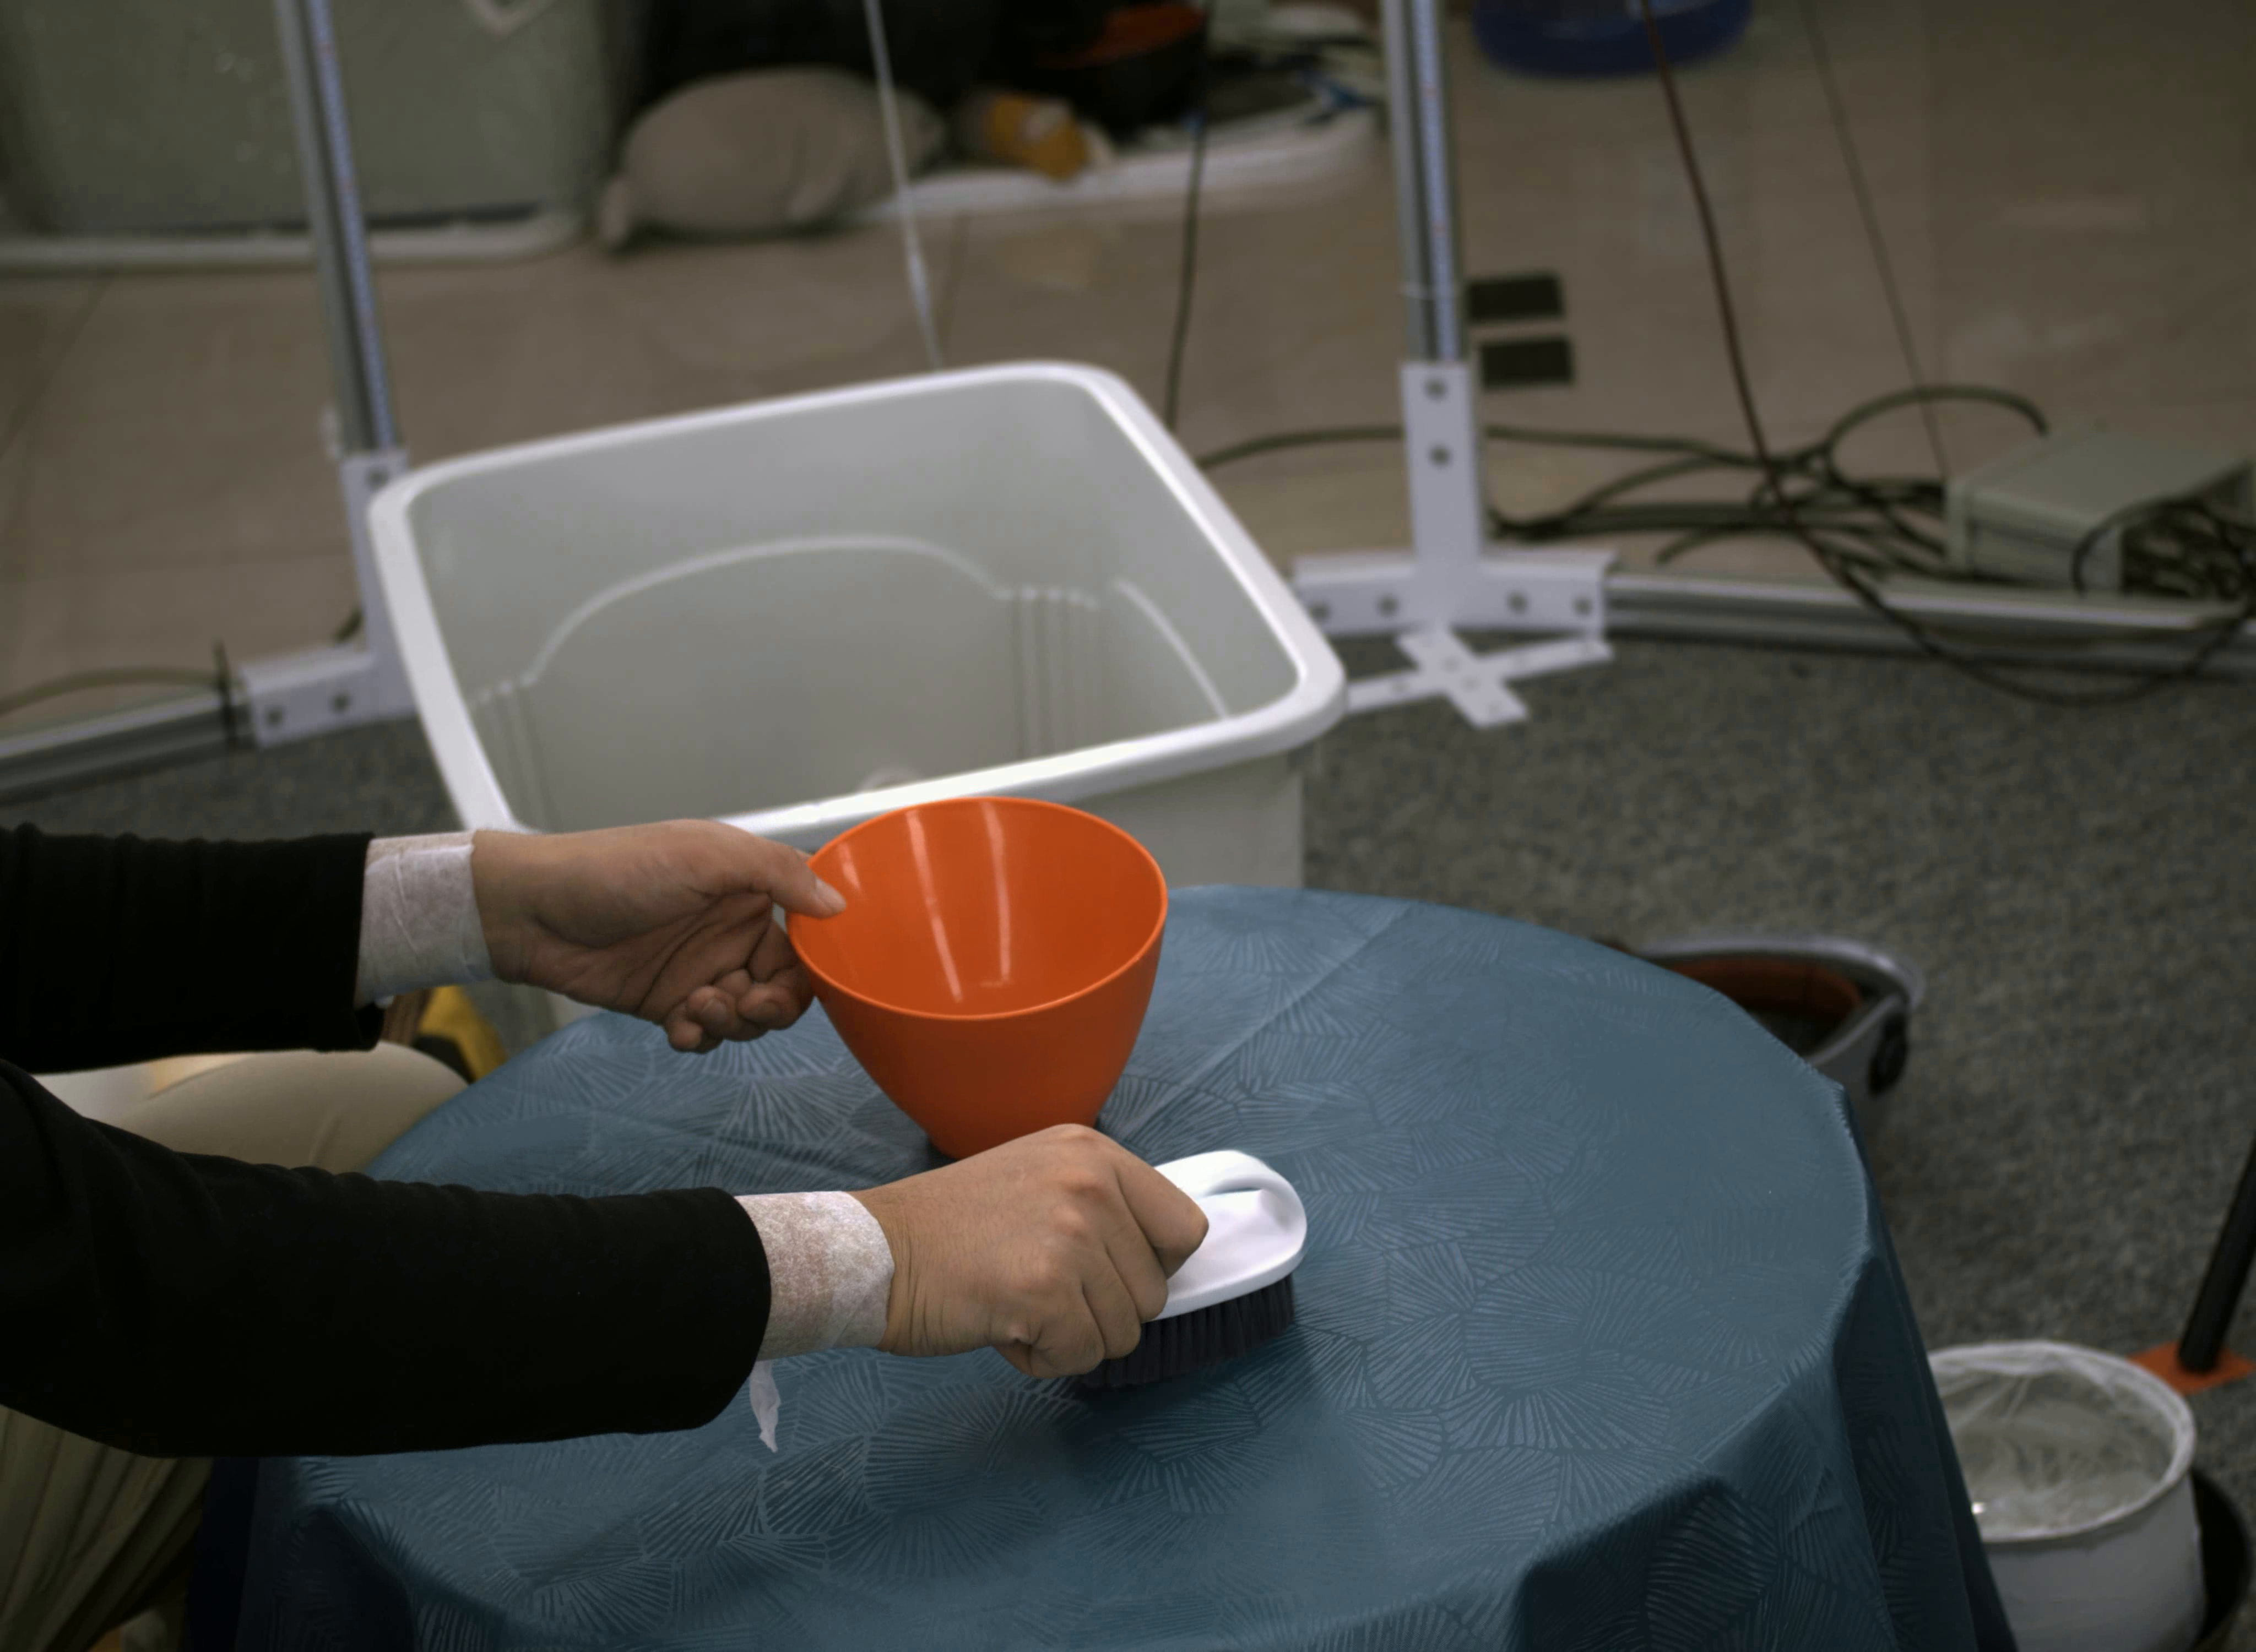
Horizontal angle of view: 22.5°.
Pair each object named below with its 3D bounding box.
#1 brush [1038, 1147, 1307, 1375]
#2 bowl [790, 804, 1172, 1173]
[{"bbox_3d":[0.018,0.148,2.014,0.099,0.074,0.049,-13,44,-25],"label":"brush"},{"bbox_3d":[-0.052,0.069,2.194,0.148,0.106,0.146,-6,26,3],"label":"bowl"}]
